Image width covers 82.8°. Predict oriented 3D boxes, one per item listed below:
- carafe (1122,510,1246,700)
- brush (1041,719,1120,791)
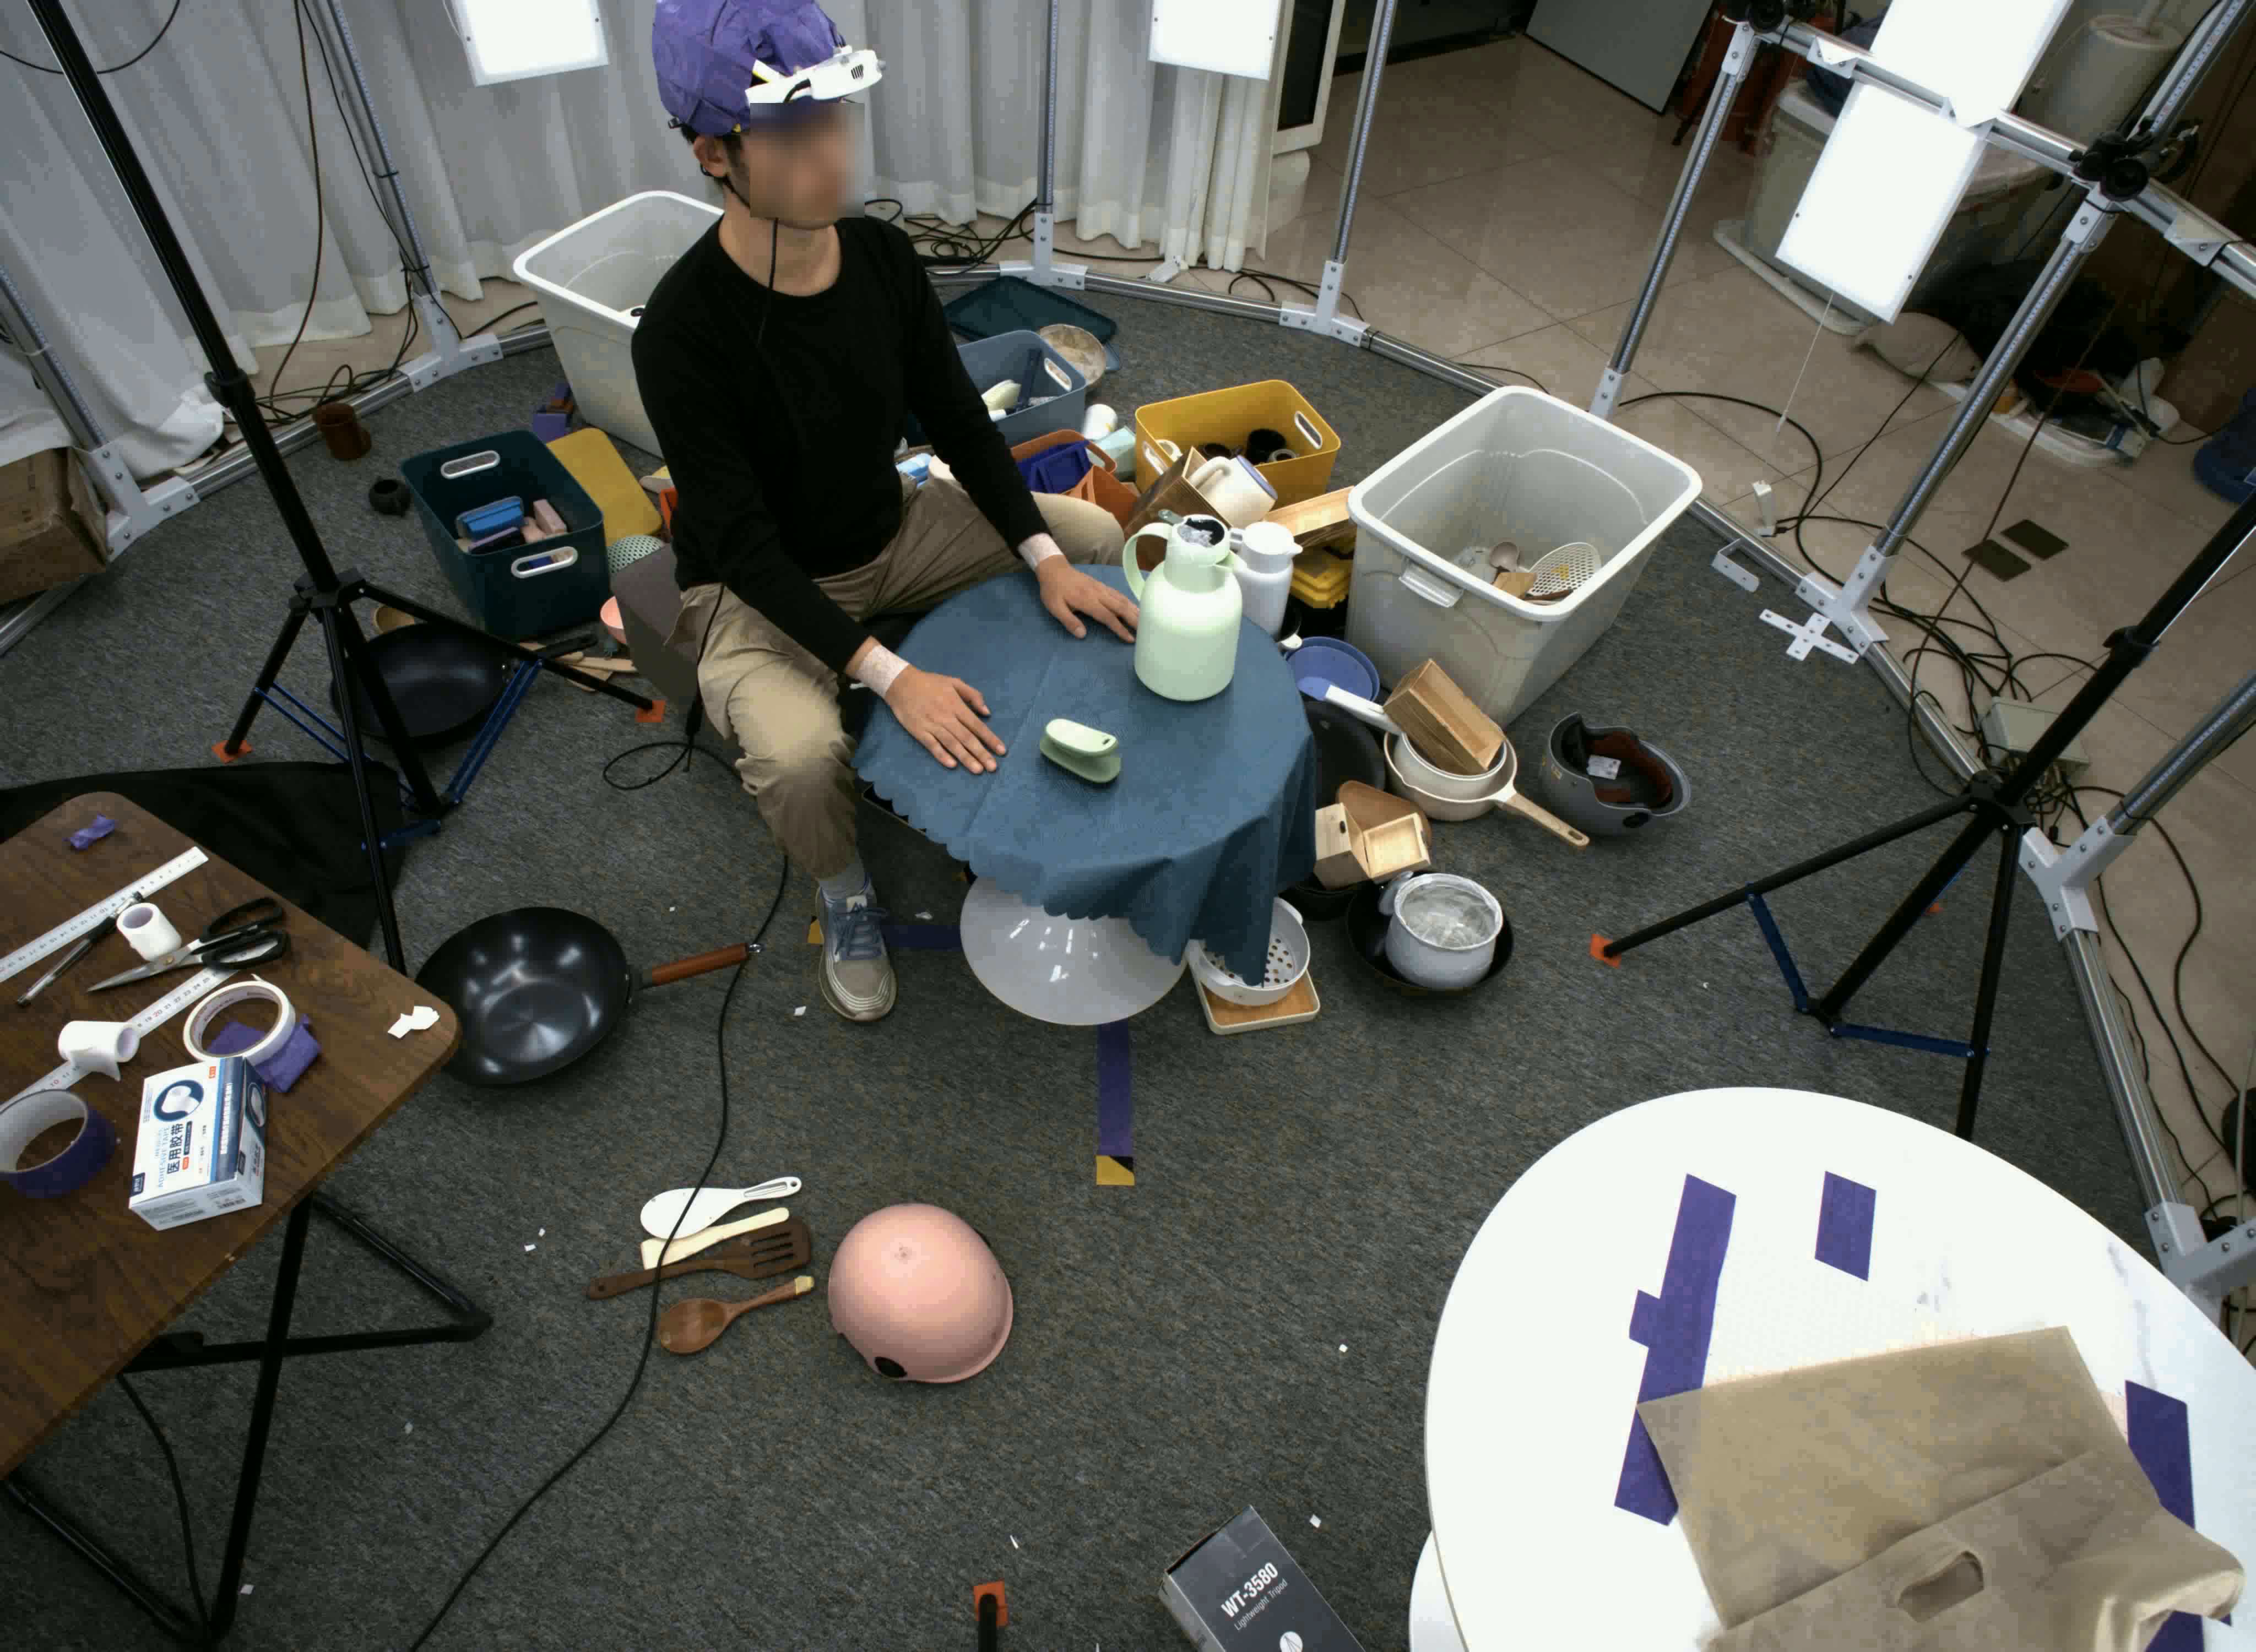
[{"bbox_3d":[0.074,-0.313,1.781,0.189,0.250,0.146,29,53,22],"label":"carafe"},{"bbox_3d":[-0.063,-0.097,1.722,0.124,0.074,0.060,22,51,36],"label":"brush"}]
